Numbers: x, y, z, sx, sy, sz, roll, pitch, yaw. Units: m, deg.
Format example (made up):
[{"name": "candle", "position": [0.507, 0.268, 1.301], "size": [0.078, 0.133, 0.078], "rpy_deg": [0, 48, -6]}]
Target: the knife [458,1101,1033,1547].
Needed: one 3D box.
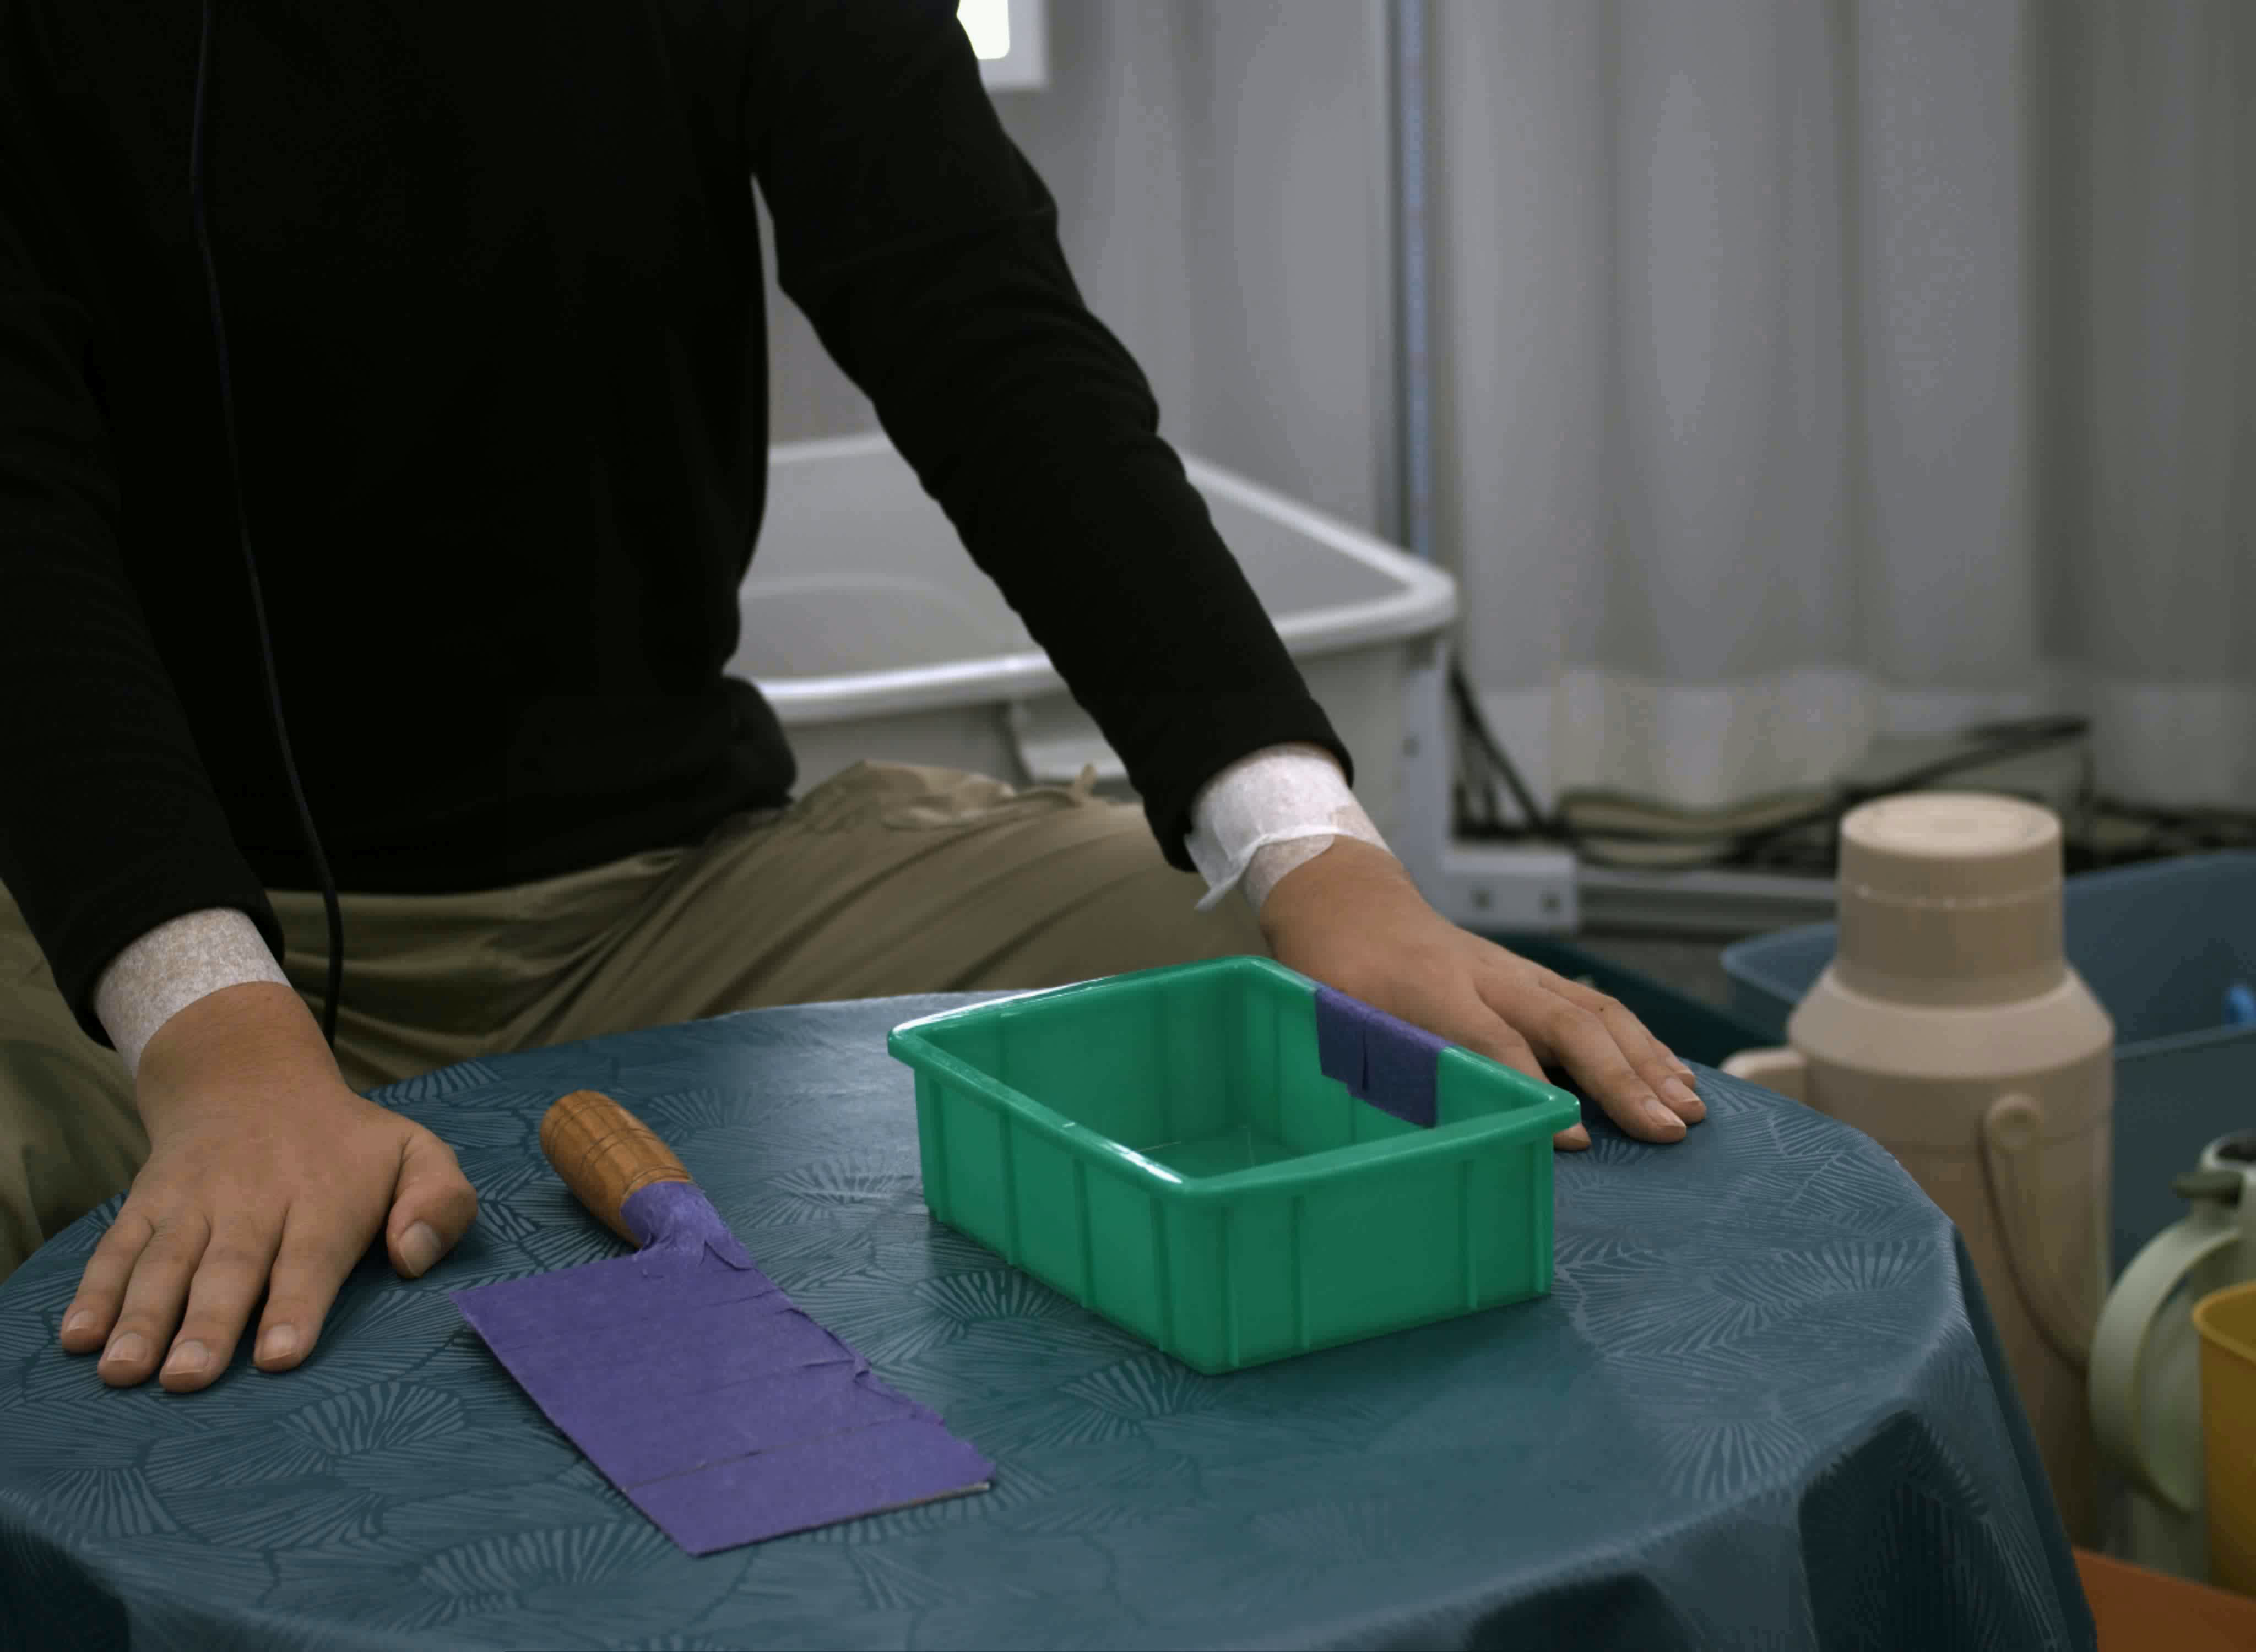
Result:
[{"name": "knife", "position": [-0.138, 0.141, 1.591], "size": [0.103, 0.032, 0.318], "rpy_deg": [-10, 17, -24]}]

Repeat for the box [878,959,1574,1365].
[{"name": "box", "position": [0.028, 0.099, 1.646], "size": [0.138, 0.065, 0.212], "rpy_deg": [-9, 14, -28]}]
